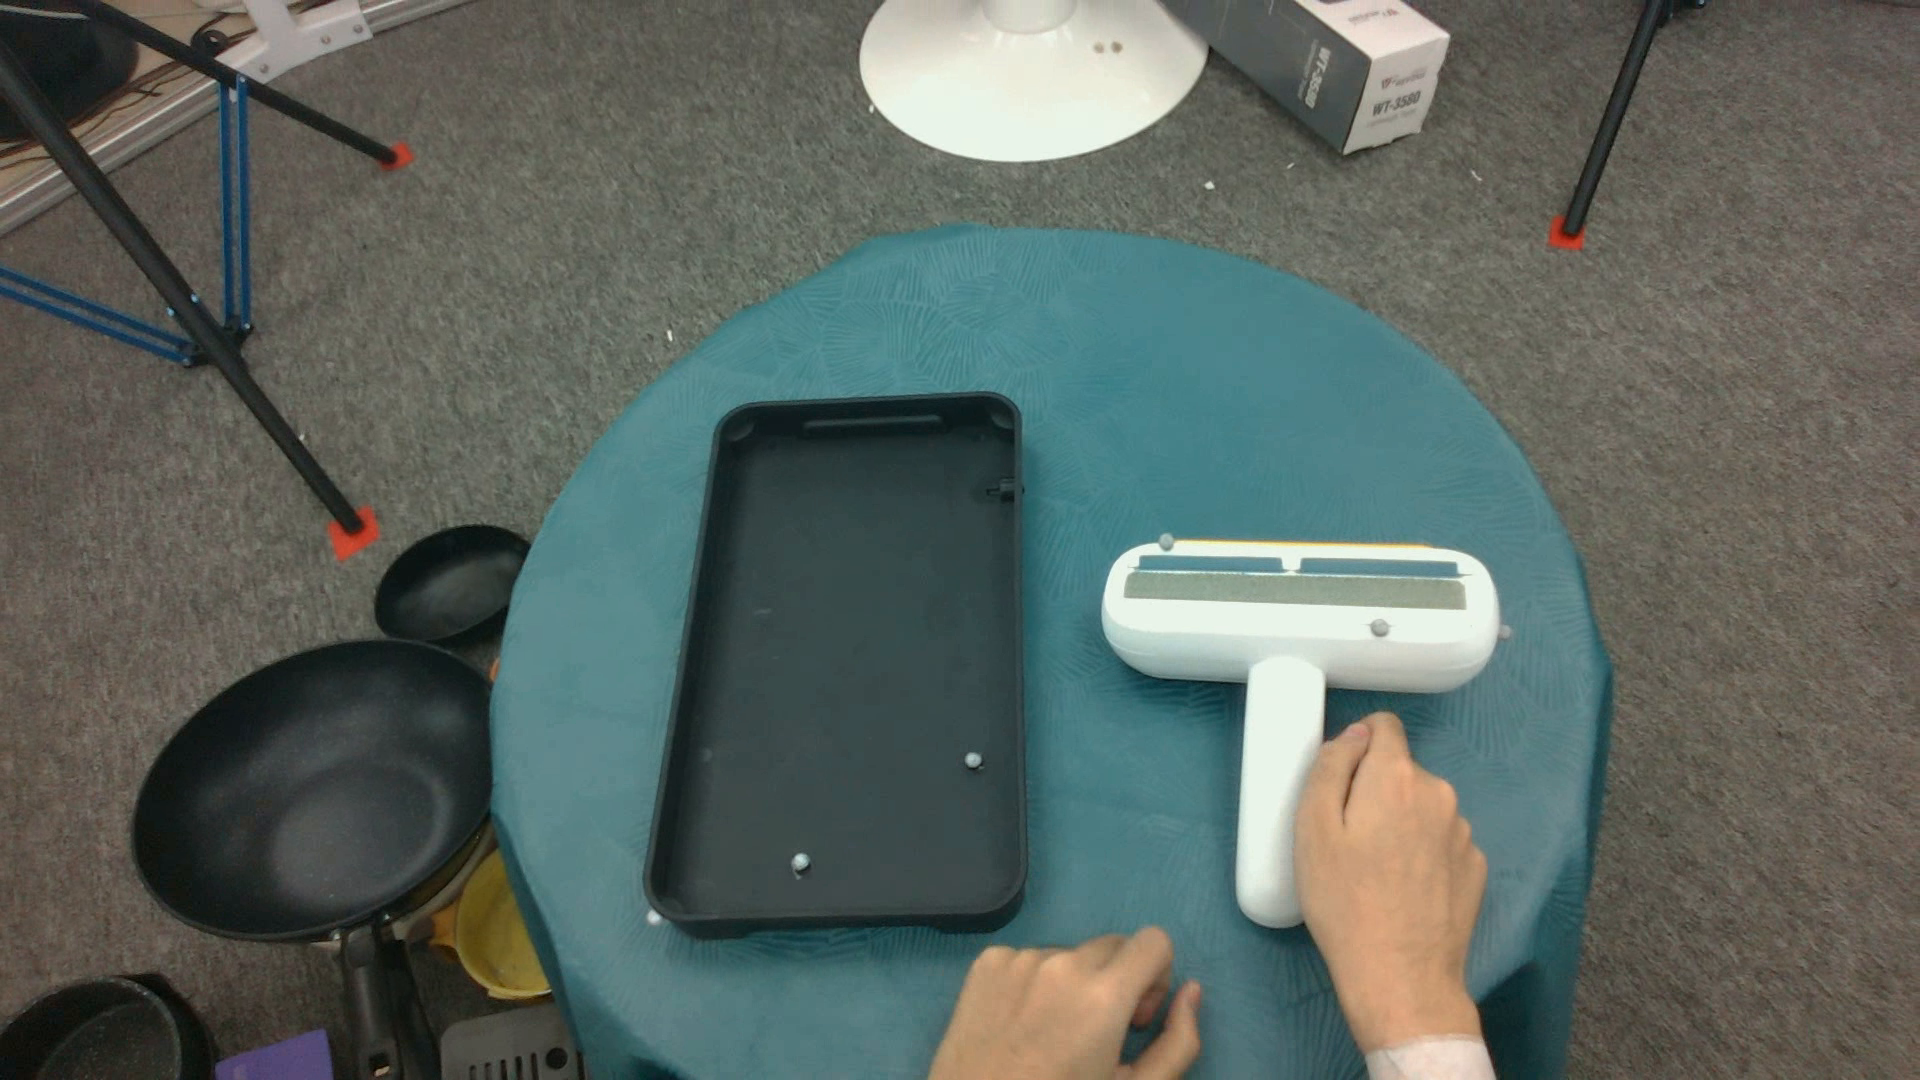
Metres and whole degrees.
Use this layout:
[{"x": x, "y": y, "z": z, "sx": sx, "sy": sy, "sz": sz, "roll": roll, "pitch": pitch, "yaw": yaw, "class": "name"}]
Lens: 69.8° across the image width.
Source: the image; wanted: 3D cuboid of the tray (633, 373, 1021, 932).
[{"x": -0.066, "y": 0.047, "z": 0.736, "sx": 0.184, "sy": 0.037, "sz": 0.319, "roll": -4, "pitch": 55, "yaw": 2, "class": "tray"}]

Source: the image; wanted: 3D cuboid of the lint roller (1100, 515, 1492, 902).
[{"x": 0.154, "y": 0.078, "z": 0.676, "sx": 0.192, "sy": 0.074, "sz": 0.193, "roll": 7, "pitch": 58, "yaw": 16, "class": "lint roller"}]
